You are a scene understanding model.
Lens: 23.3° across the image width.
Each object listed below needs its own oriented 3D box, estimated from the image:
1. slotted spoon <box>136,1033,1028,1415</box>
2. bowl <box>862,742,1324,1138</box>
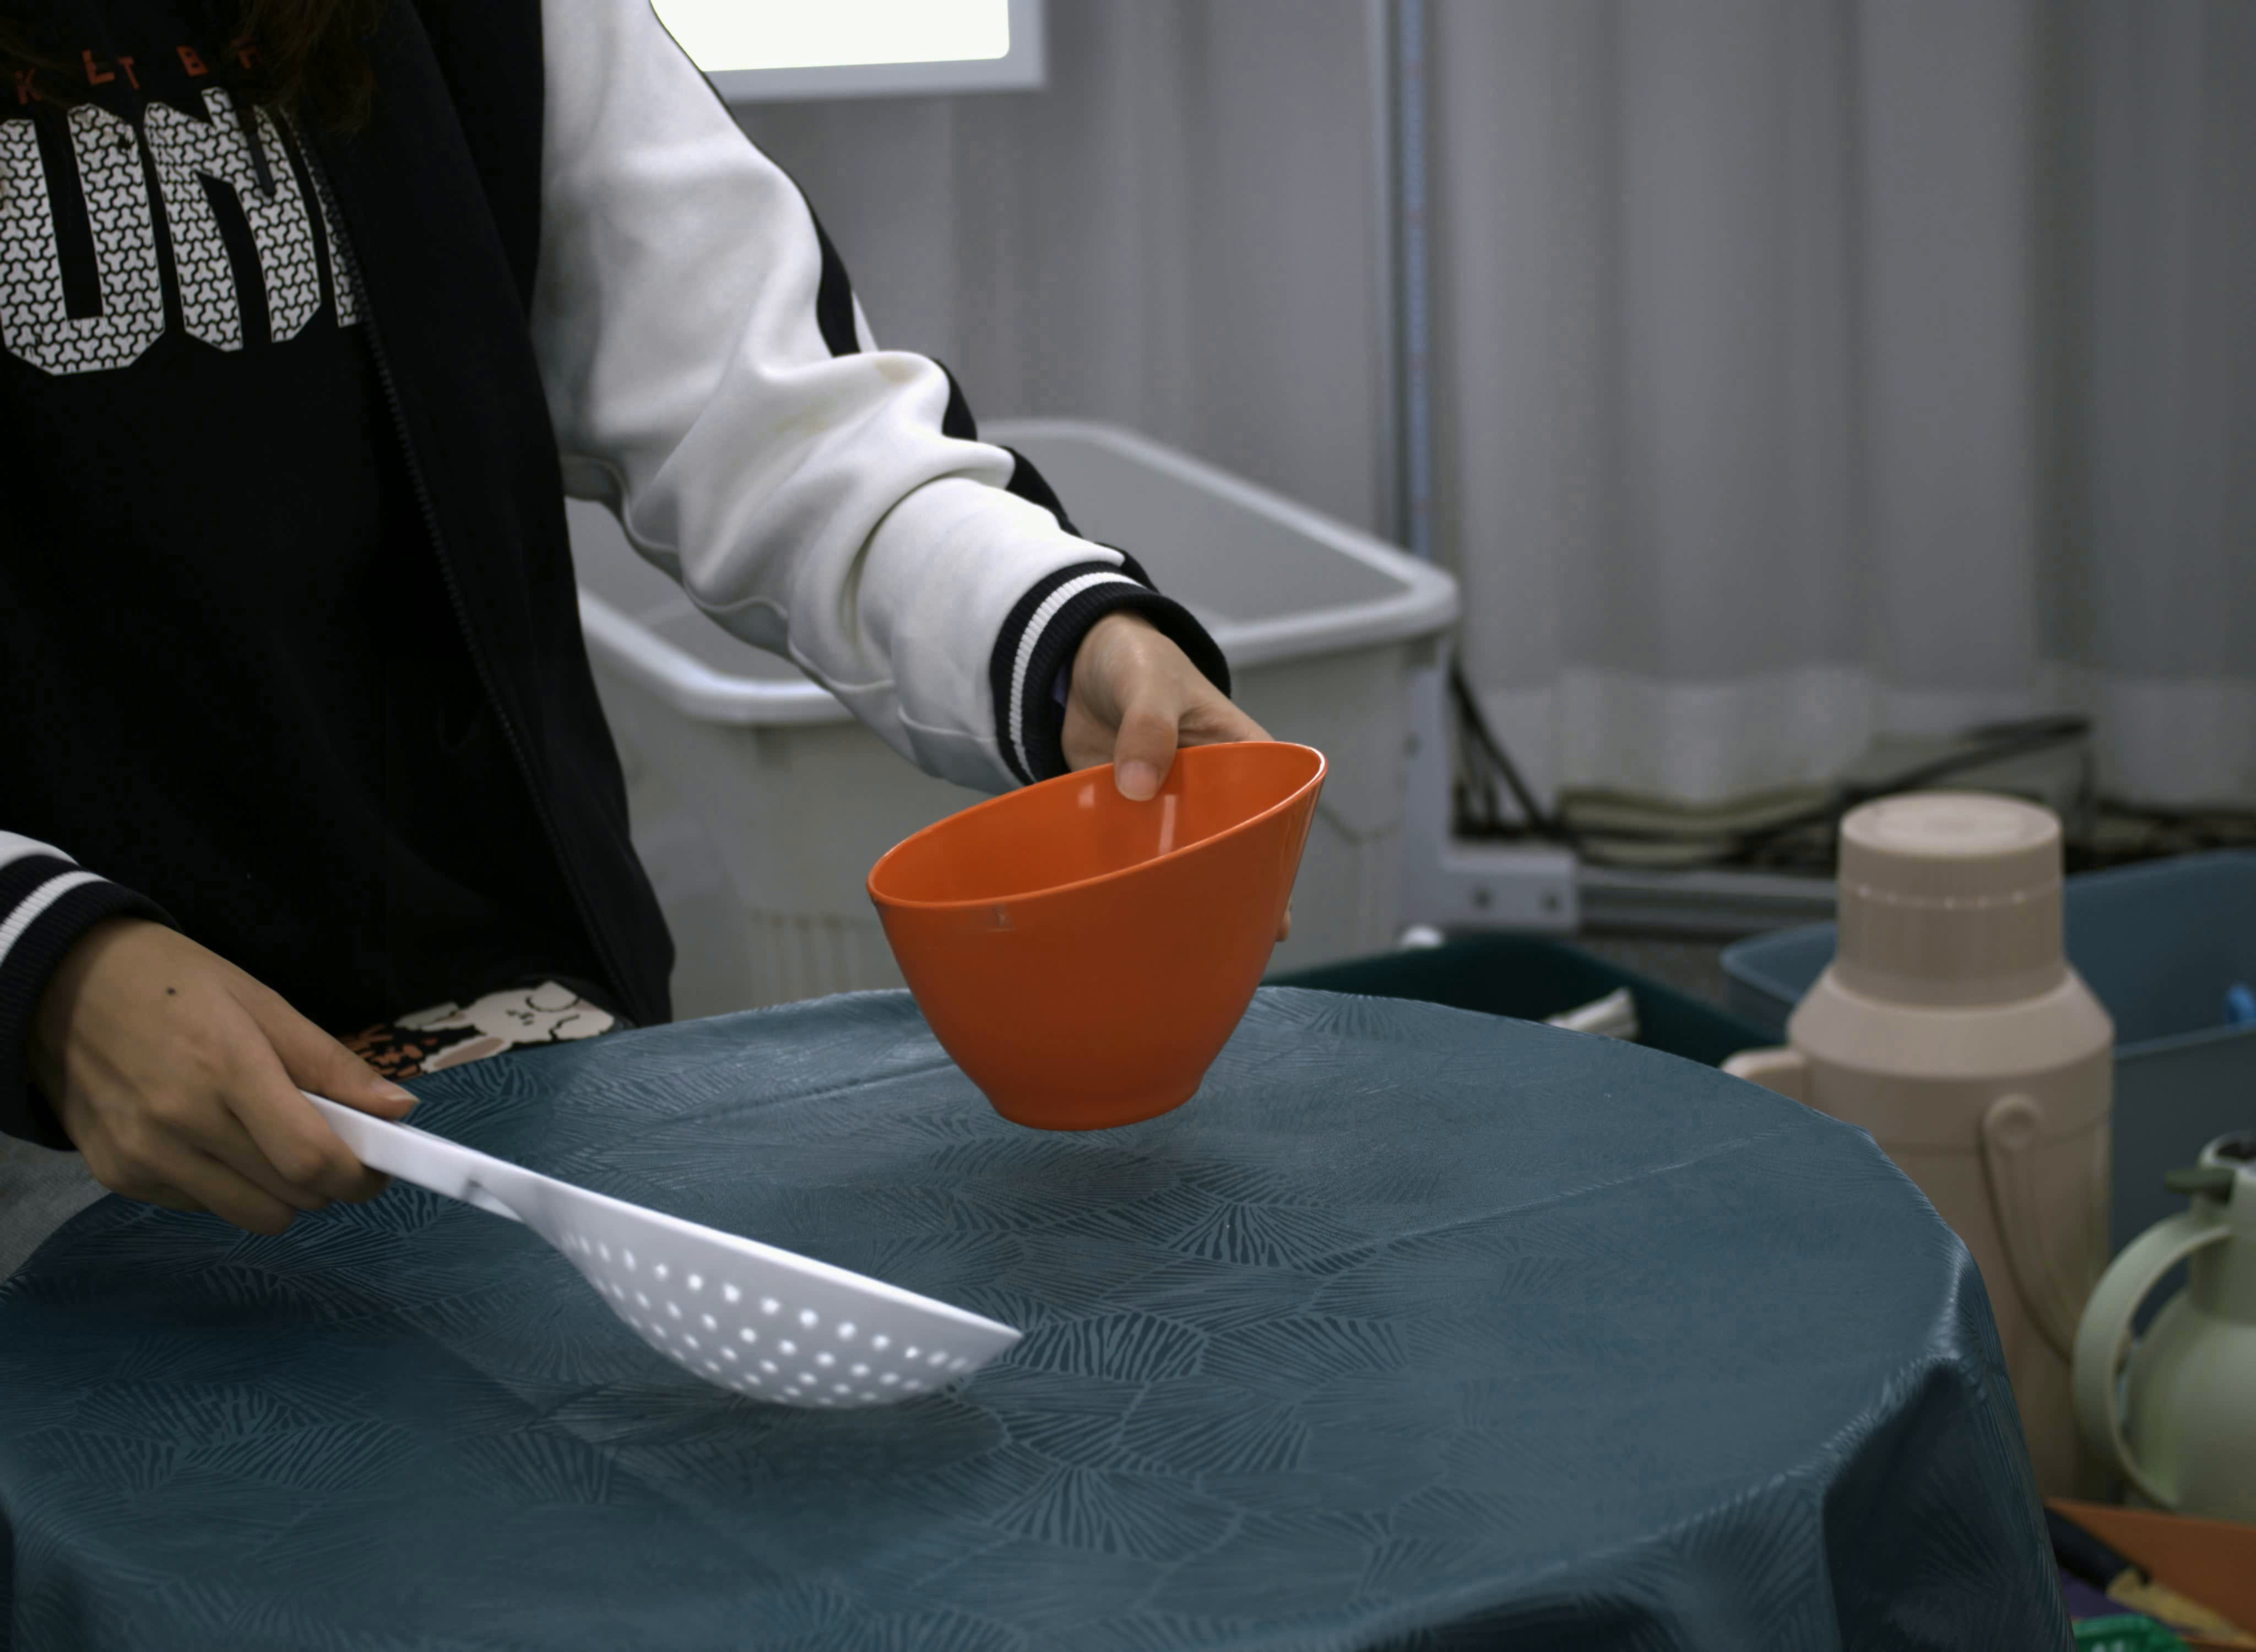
[{"bbox_3d":[-0.172,0.107,1.576,0.352,0.046,0.134,21,-2,42],"label":"slotted spoon"},{"bbox_3d":[-0.006,0.038,1.707,0.147,0.104,0.149,-8,19,2],"label":"bowl"}]
